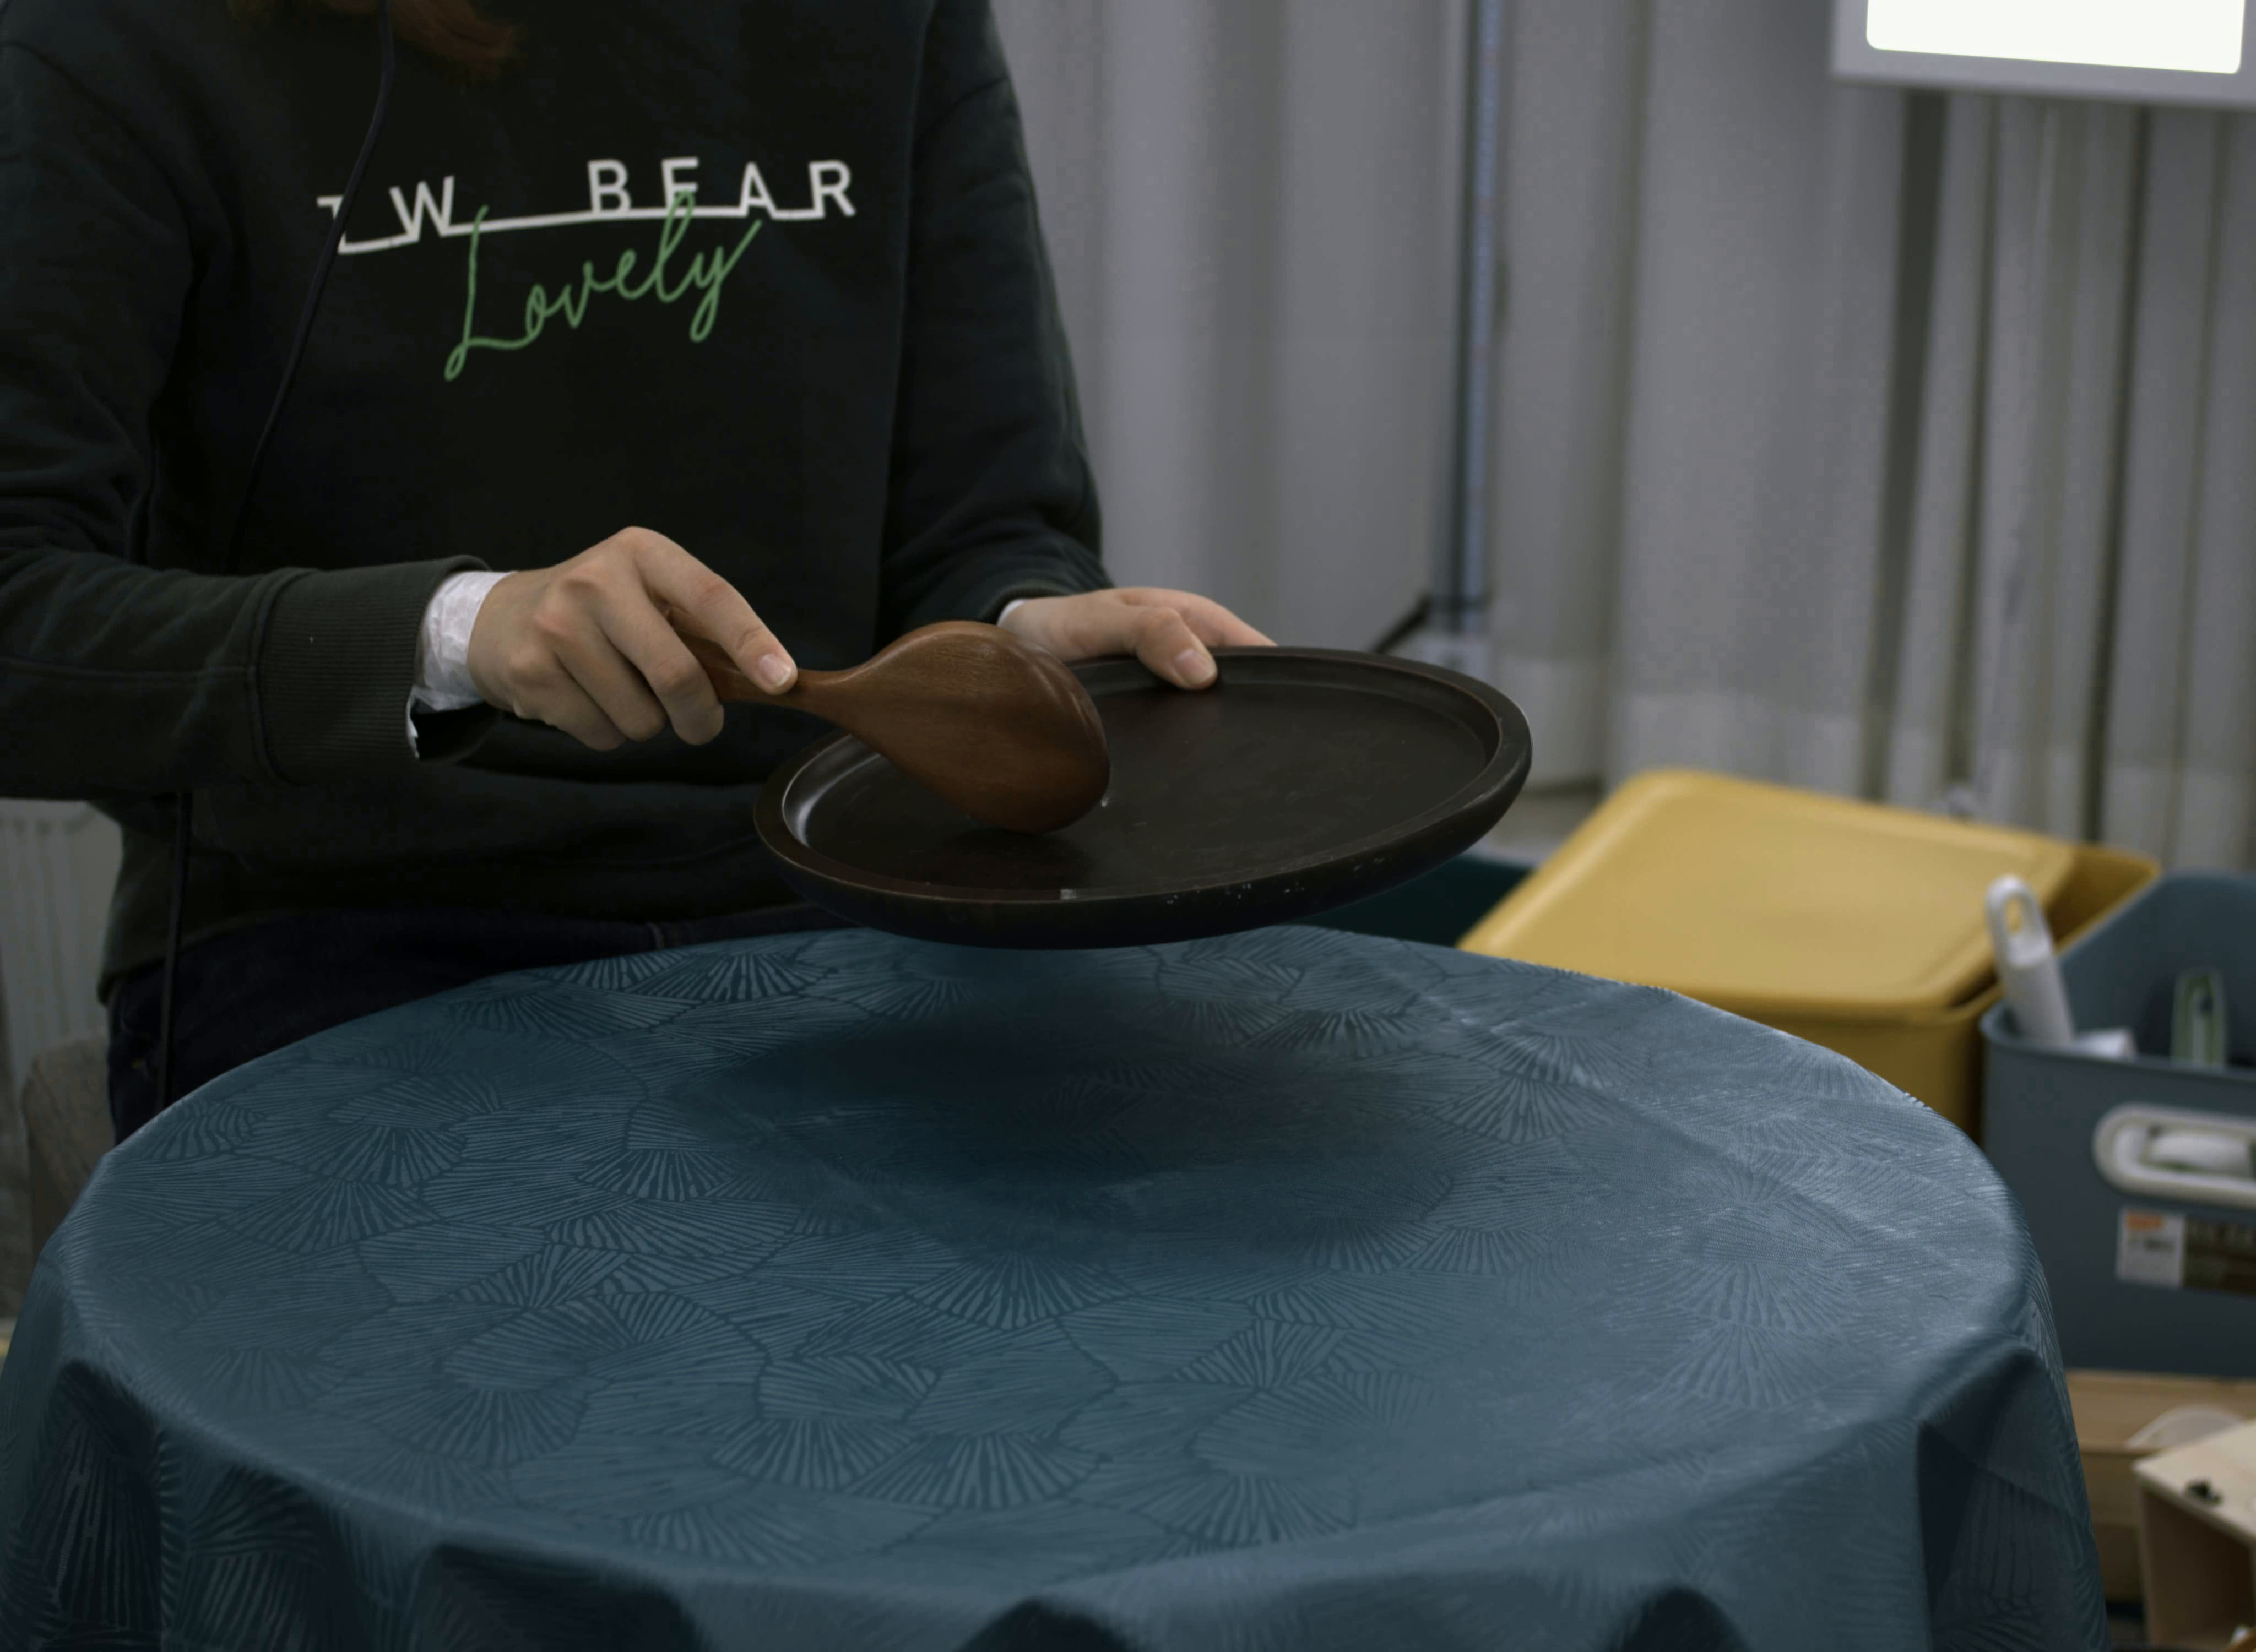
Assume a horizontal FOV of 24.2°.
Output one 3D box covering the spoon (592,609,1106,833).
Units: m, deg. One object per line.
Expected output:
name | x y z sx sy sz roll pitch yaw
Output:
spoon | -0.094 -0.041 1.702 0.213 0.076 0.017 14 39 37

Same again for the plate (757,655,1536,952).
plate | 0.006 -0.010 1.705 0.254 0.029 0.253 -4 20 2
